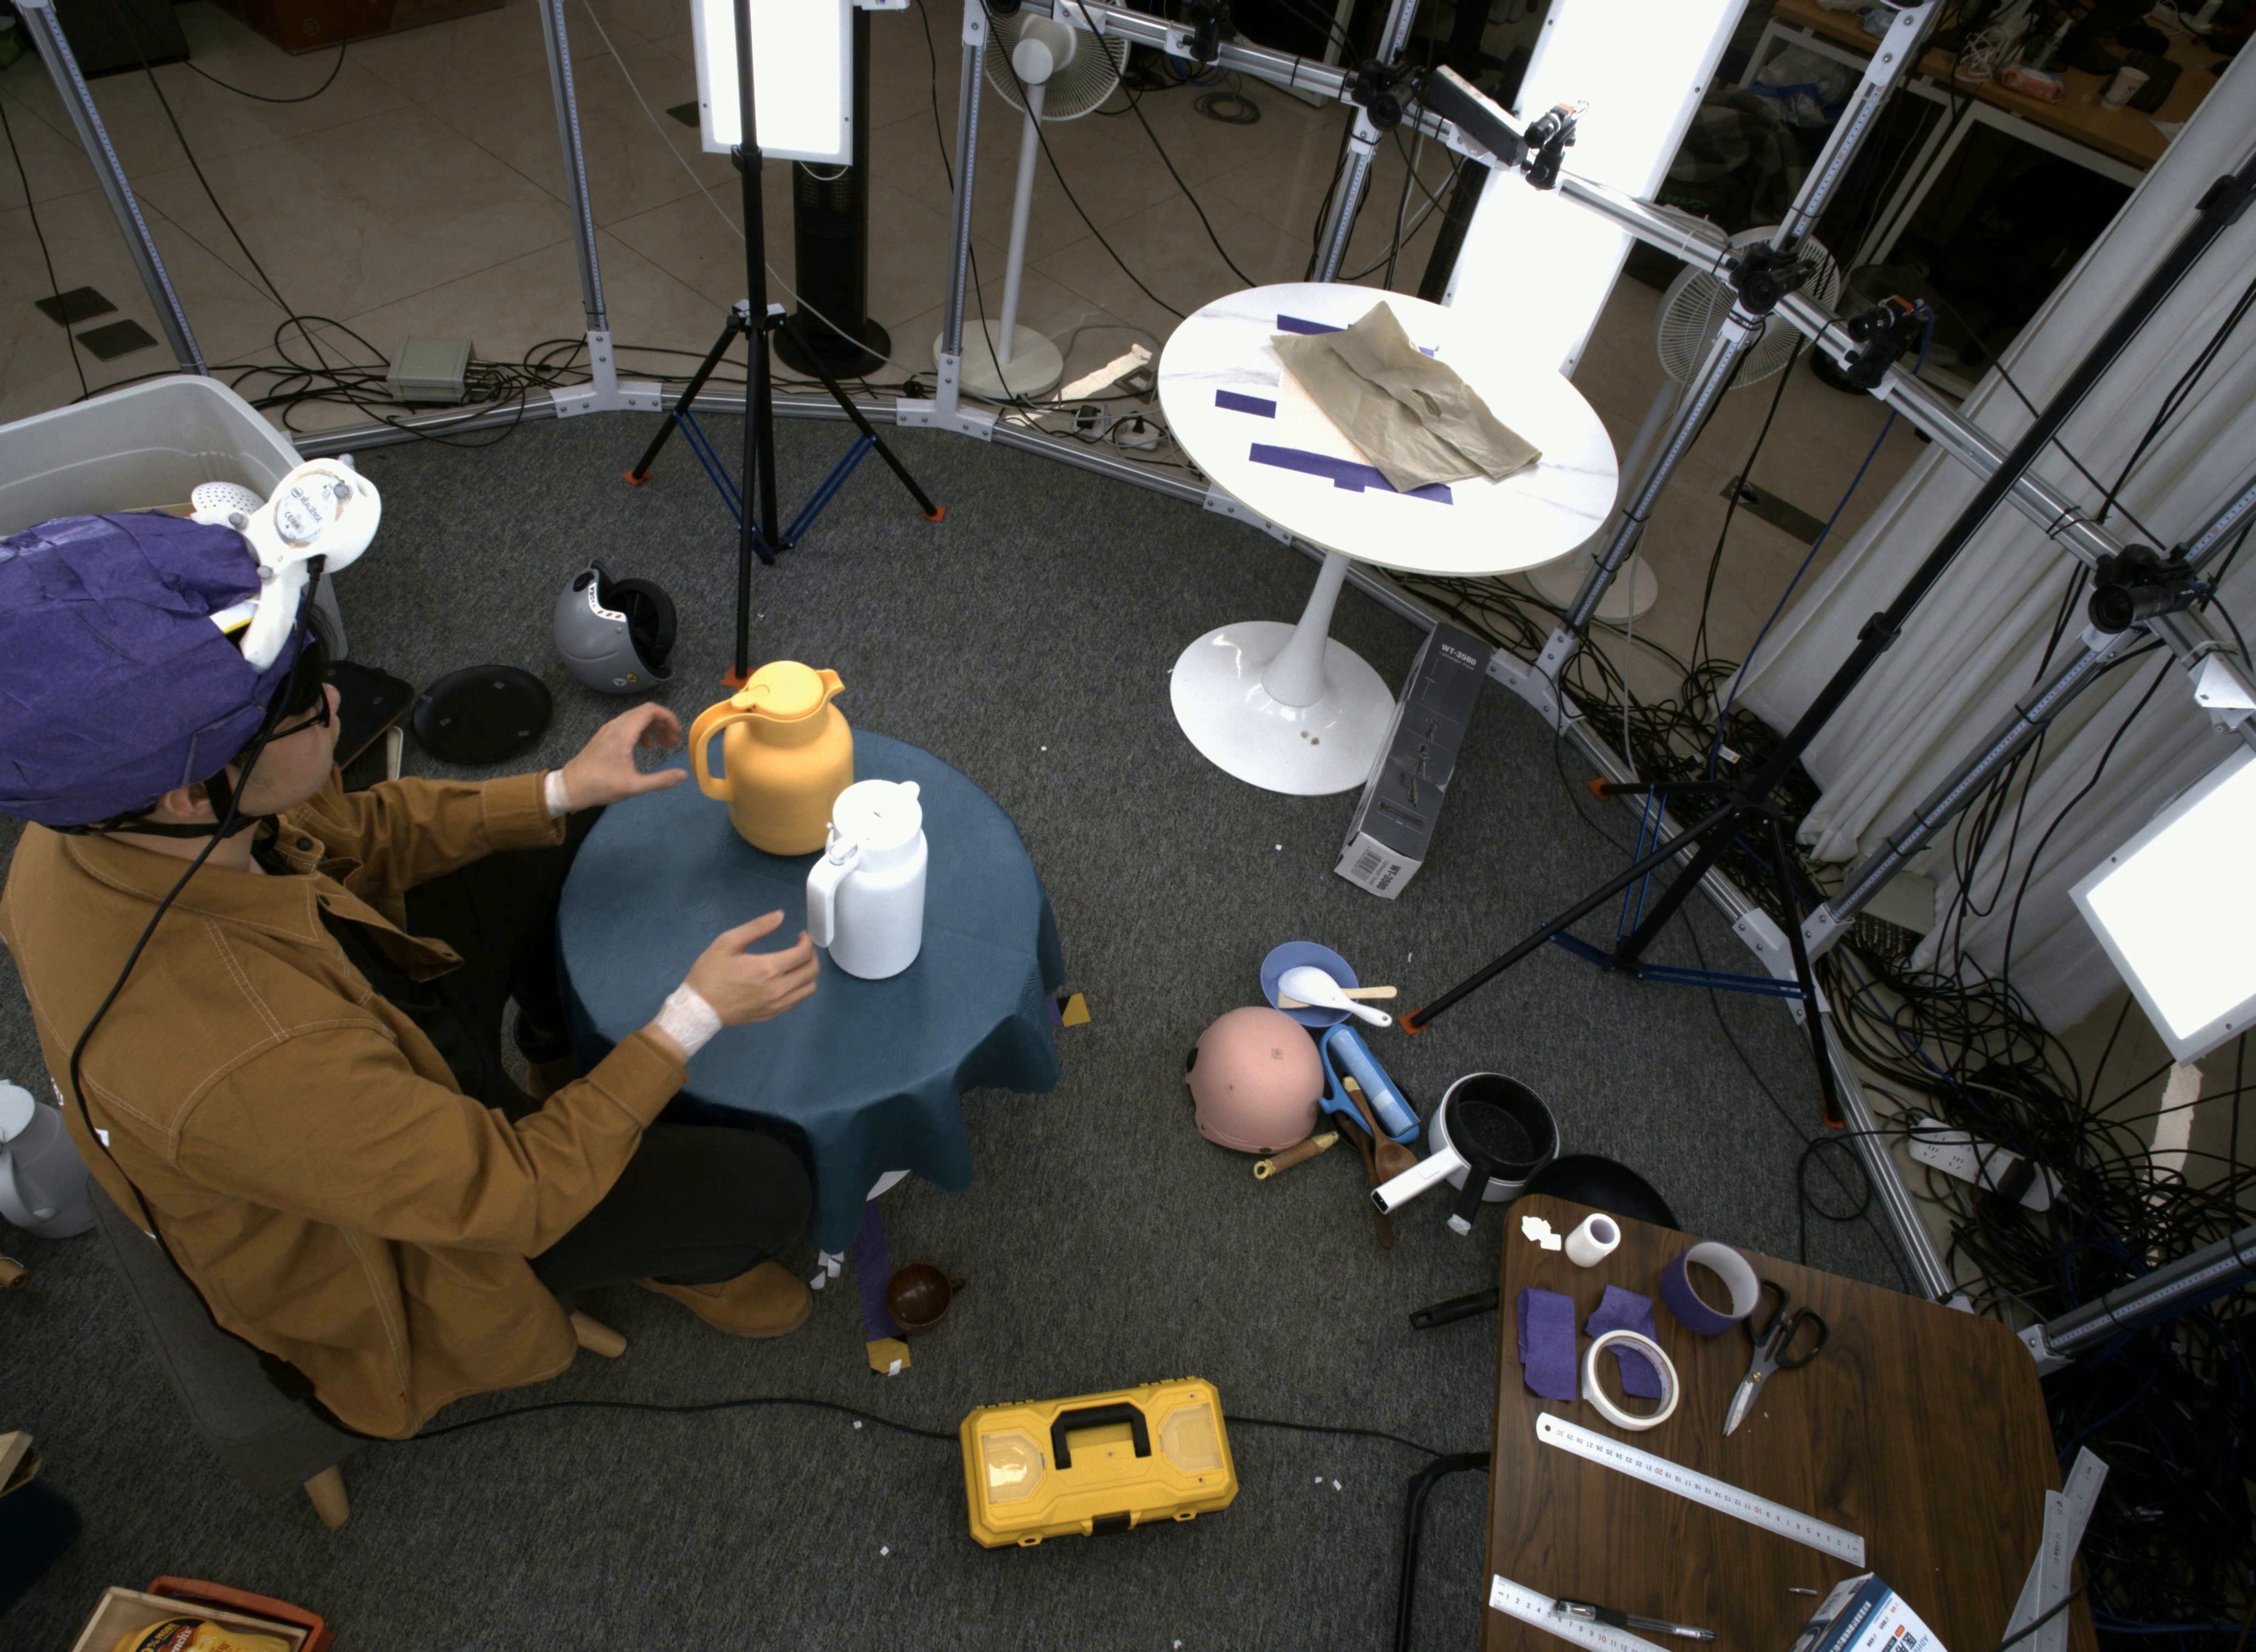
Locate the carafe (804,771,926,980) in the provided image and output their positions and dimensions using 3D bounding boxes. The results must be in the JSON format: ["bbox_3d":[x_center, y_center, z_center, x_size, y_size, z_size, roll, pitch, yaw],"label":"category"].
[{"bbox_3d":[-0.307,0.073,1.523,0.122,0.274,0.172,32,53,11],"label":"carafe"}]

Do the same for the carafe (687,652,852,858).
[{"bbox_3d":[-0.445,-0.090,1.612,0.203,0.266,0.159,-17,55,-26],"label":"carafe"}]
